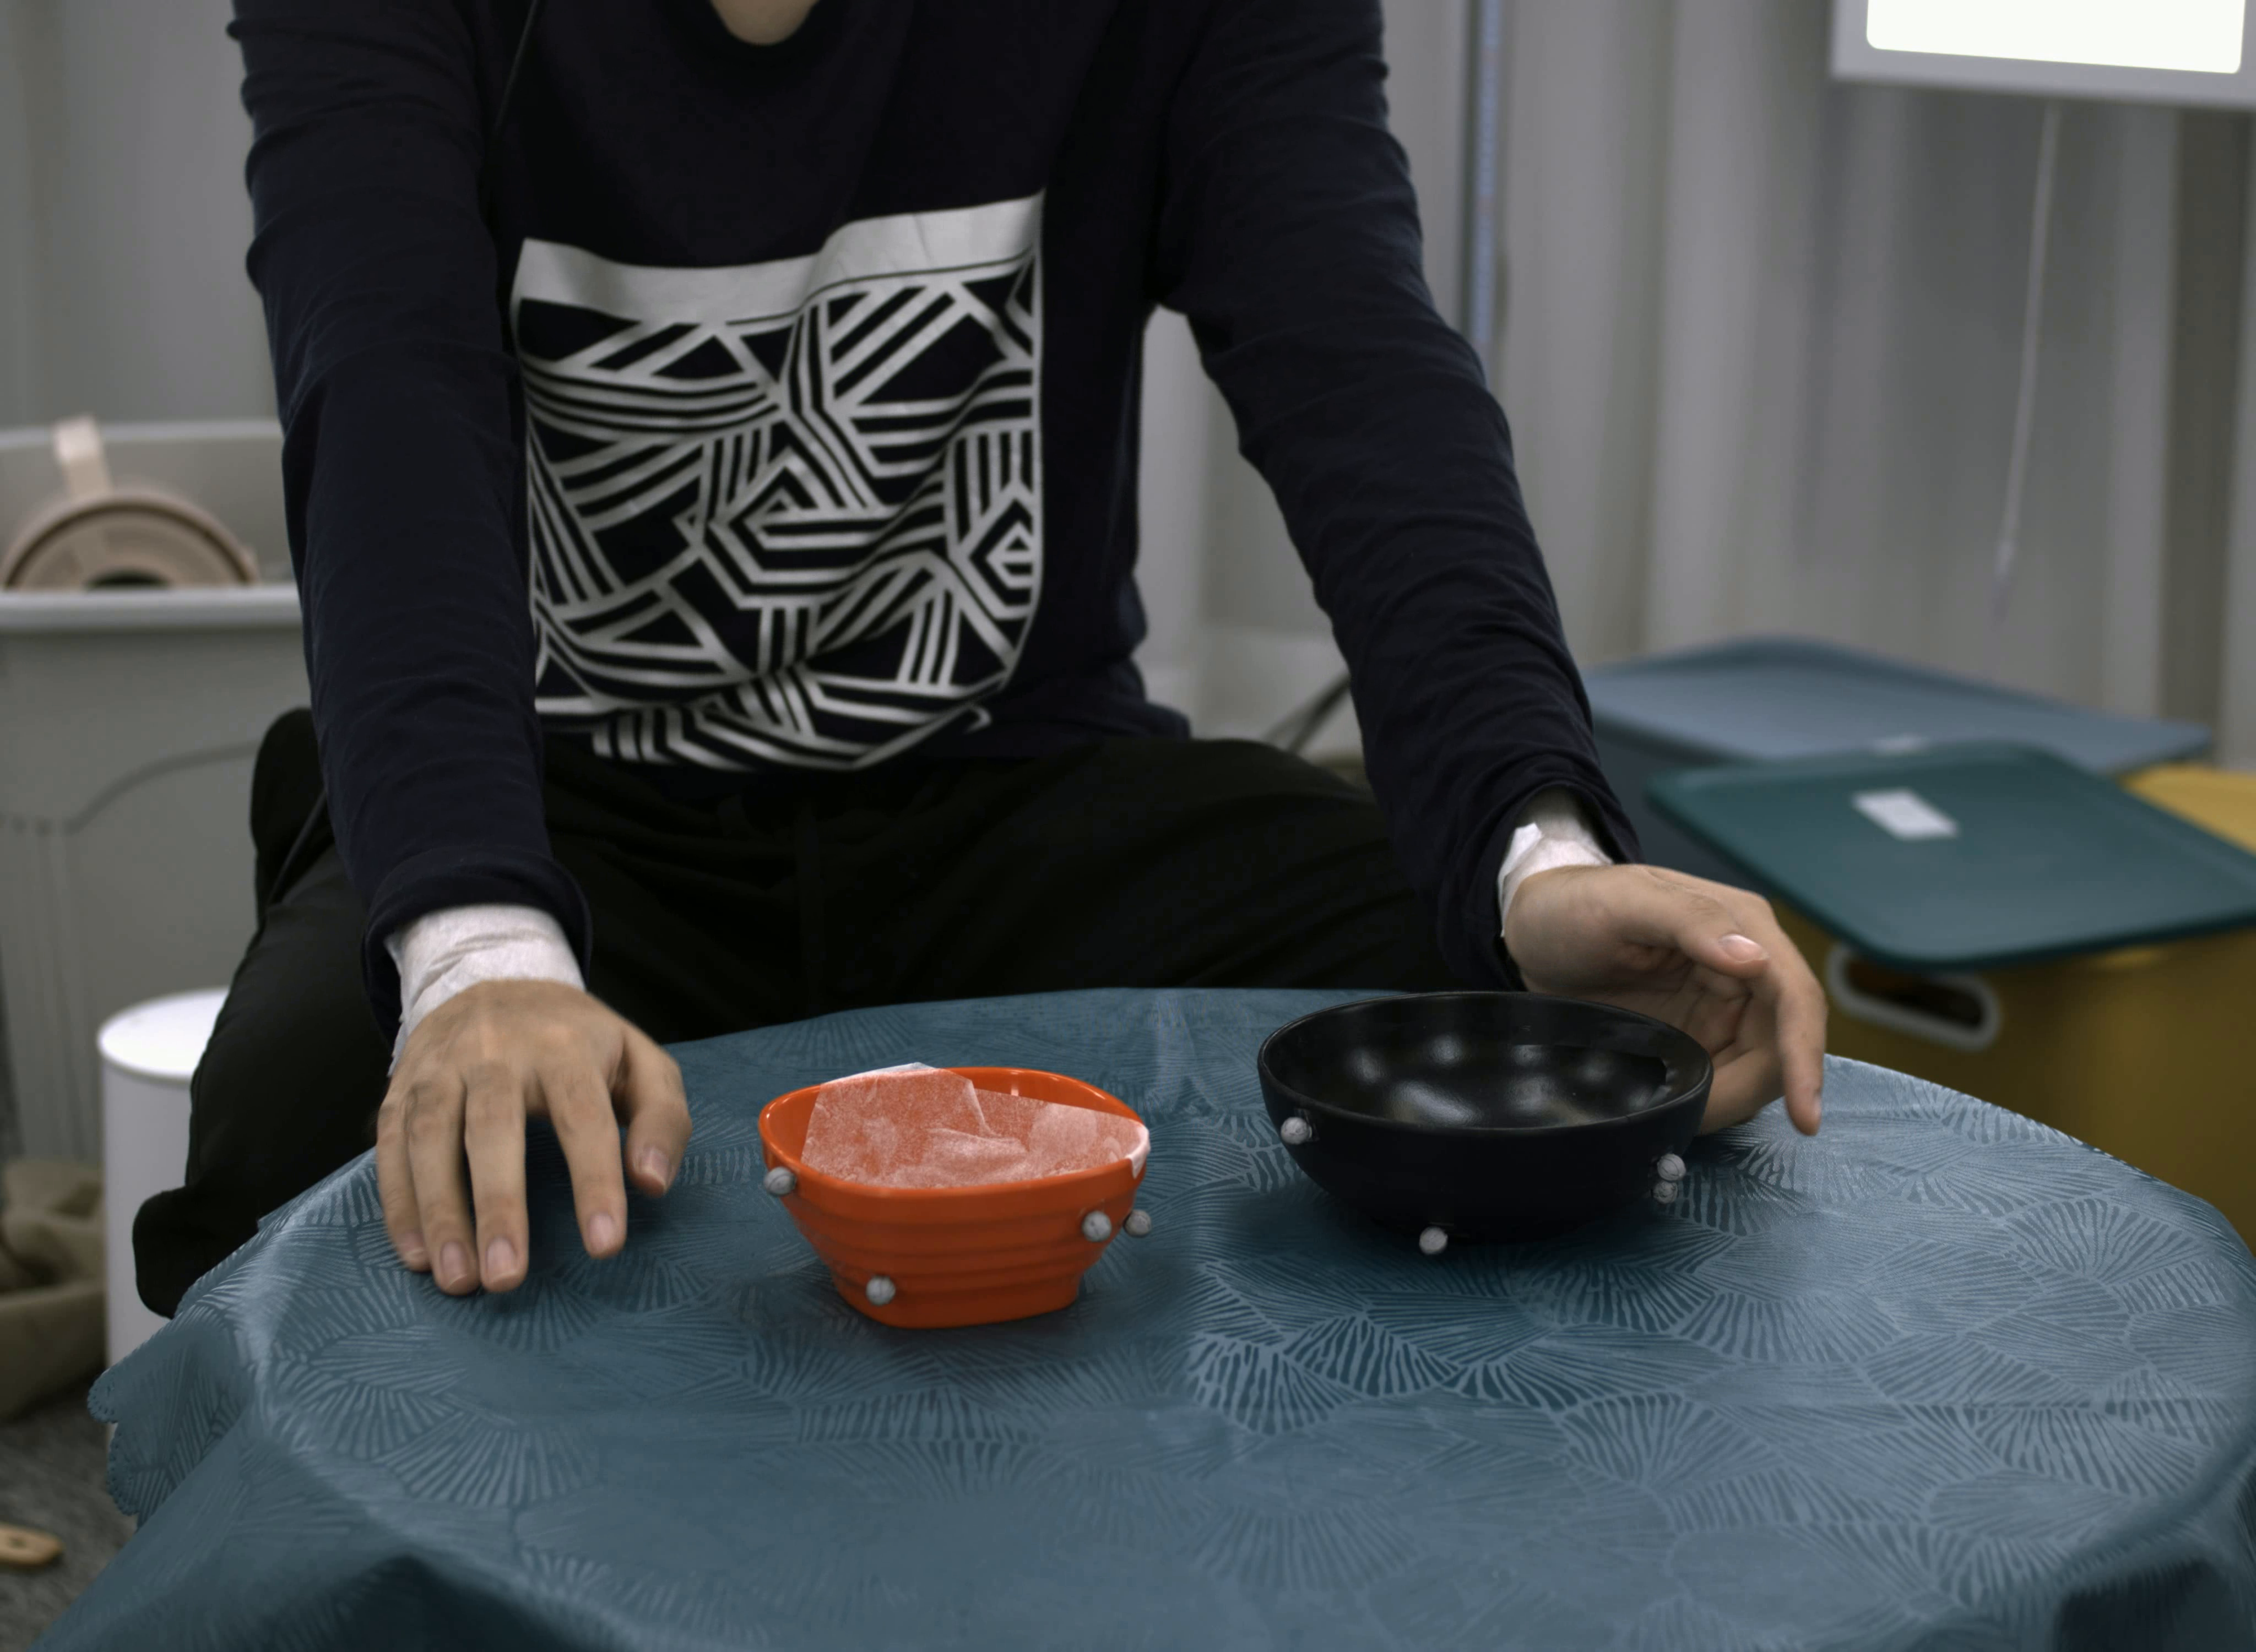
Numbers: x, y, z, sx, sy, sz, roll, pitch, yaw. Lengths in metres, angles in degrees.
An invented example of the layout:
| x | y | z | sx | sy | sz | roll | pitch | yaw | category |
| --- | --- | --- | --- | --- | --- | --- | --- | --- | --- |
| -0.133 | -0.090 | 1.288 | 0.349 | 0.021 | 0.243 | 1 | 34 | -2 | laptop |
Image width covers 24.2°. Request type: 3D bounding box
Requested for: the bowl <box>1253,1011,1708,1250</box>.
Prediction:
| x | y | z | sx | sy | sz | roll | pitch | yaw | category |
| --- | --- | --- | --- | --- | --- | --- | --- | --- | --- |
| 0.107 | 0.096 | 1.606 | 0.139 | 0.050 | 0.139 | 0 | 11 | 1 | bowl |

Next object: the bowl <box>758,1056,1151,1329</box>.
| x | y | z | sx | sy | sz | roll | pitch | yaw | category |
| --- | --- | --- | --- | --- | --- | --- | --- | --- | --- |
| -0.051 | 0.109 | 1.535 | 0.118 | 0.052 | 0.118 | 0 | 18 | 0 | bowl |
